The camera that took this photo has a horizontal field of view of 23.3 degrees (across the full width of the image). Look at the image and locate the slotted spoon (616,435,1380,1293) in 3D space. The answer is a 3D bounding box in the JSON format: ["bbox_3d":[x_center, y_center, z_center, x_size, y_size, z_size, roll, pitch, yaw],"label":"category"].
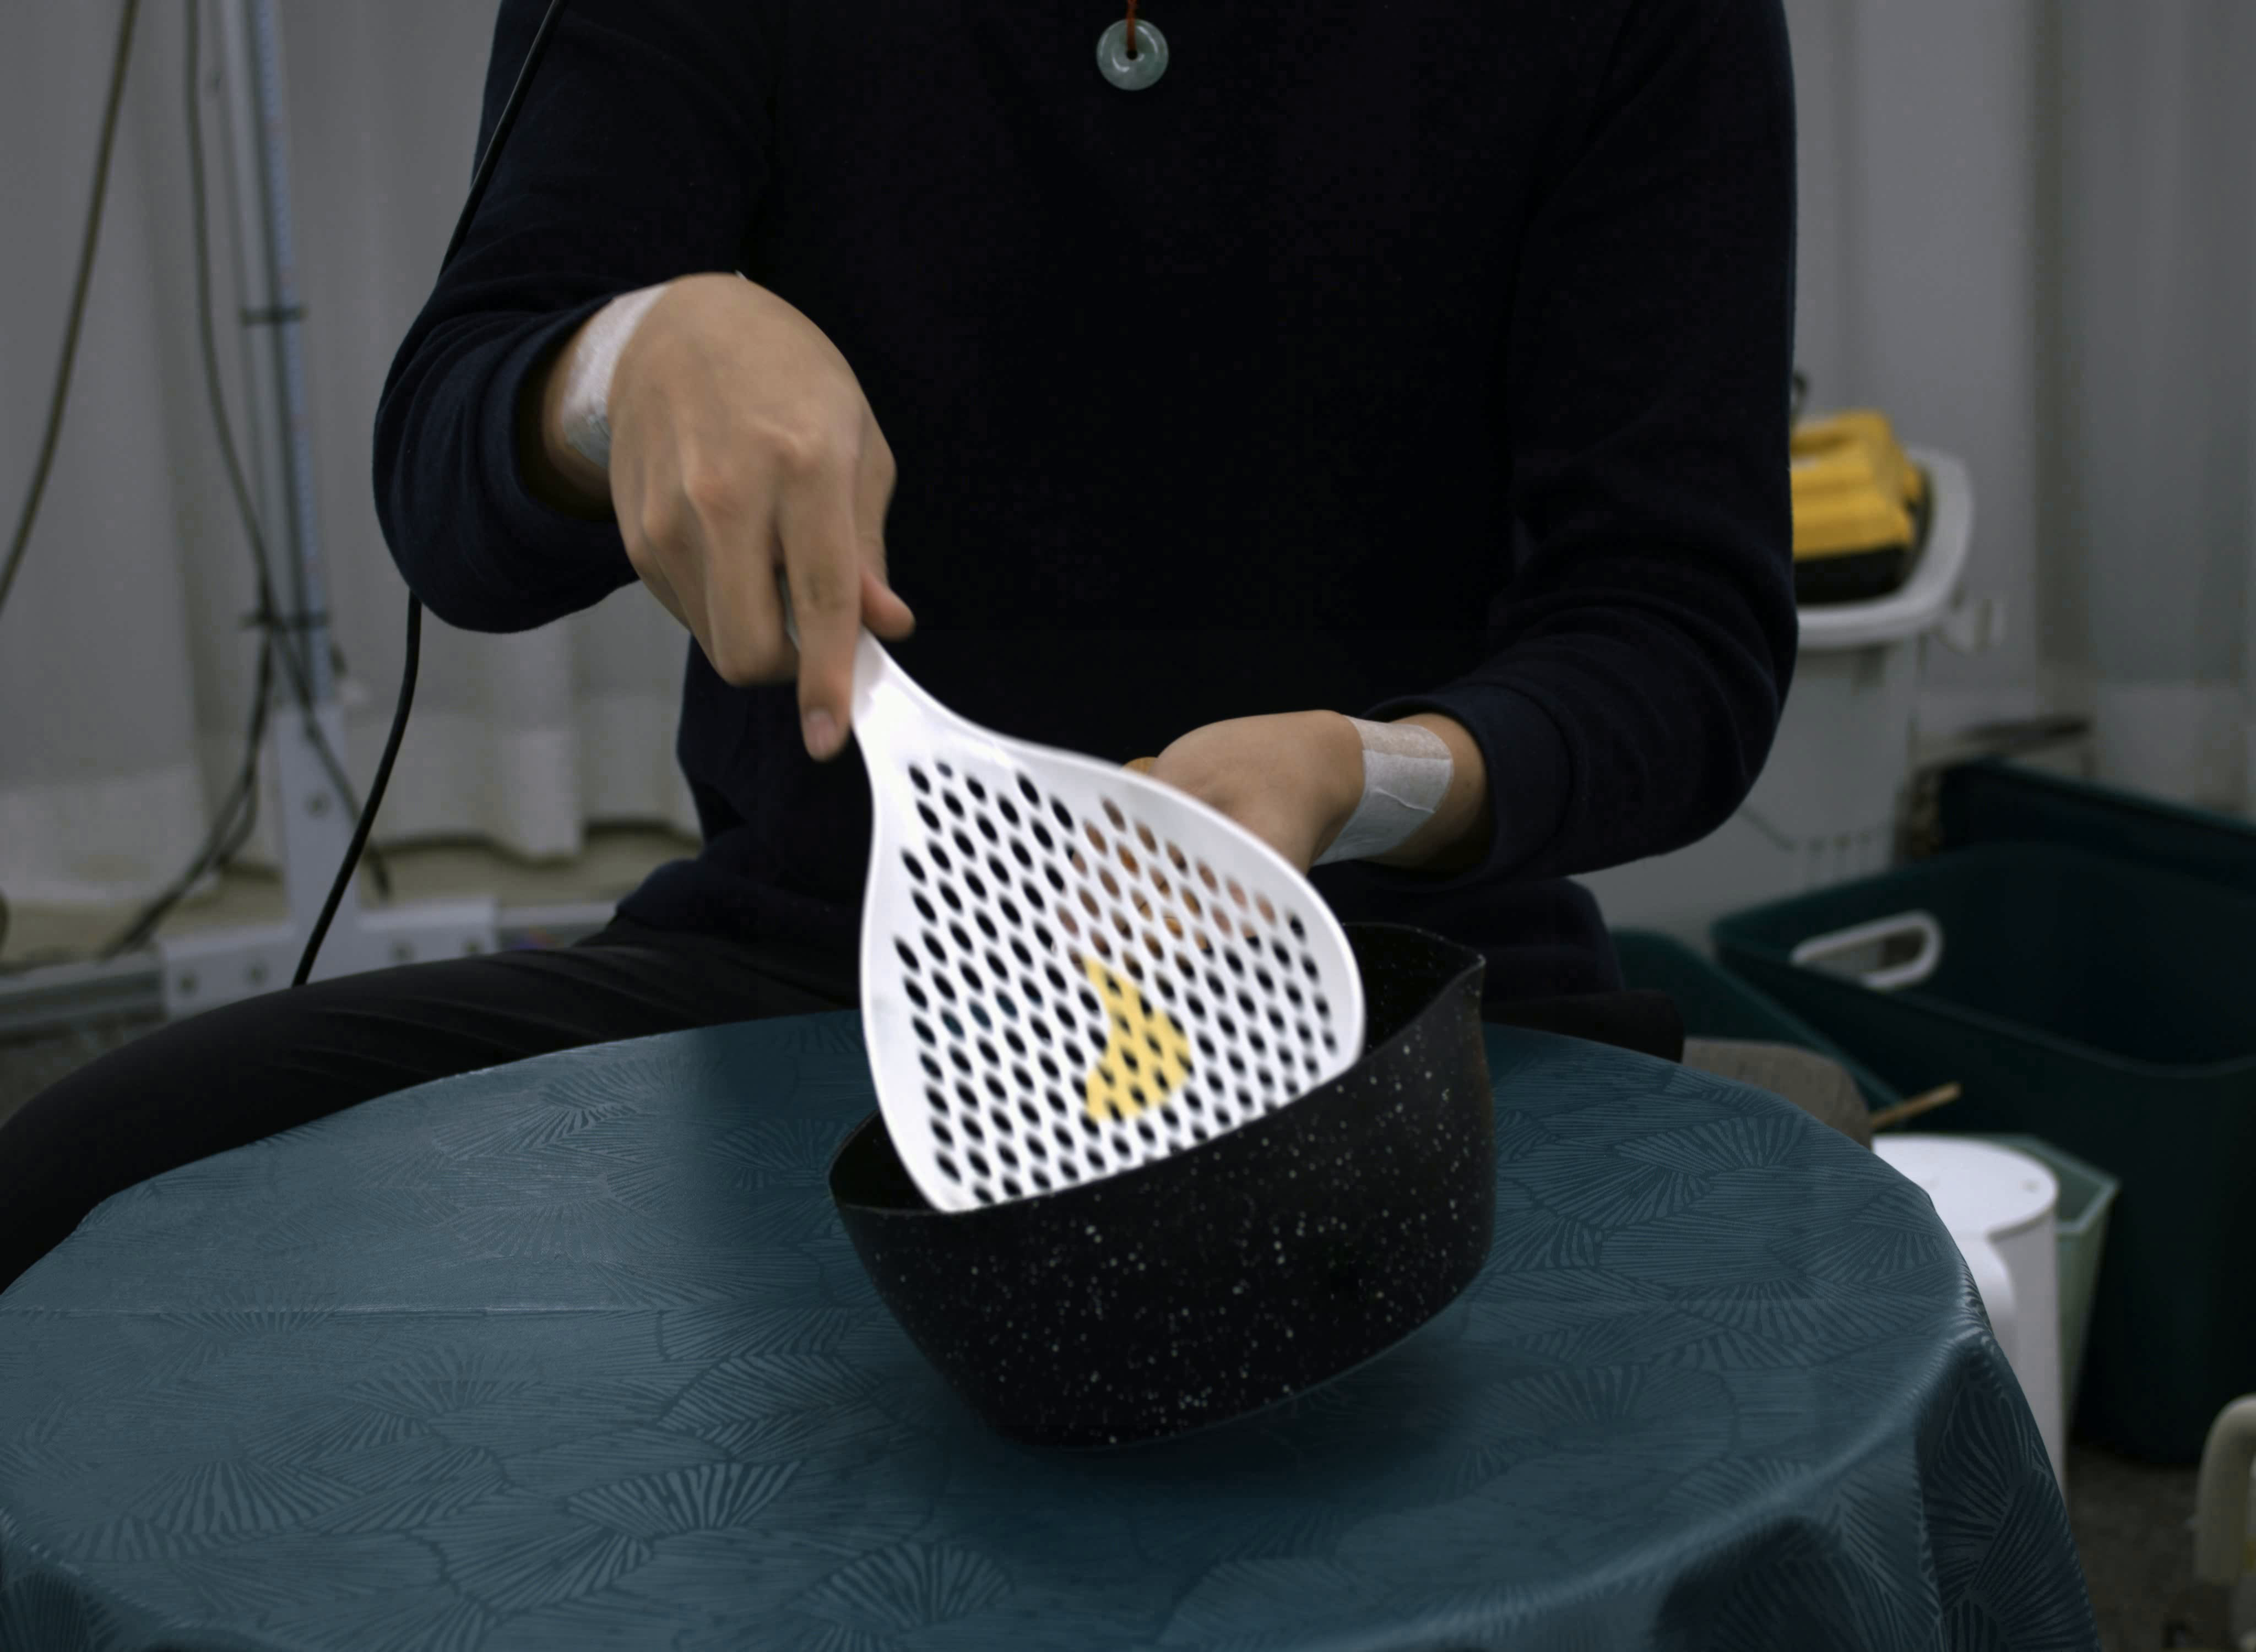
[{"bbox_3d":[-0.054,-0.008,1.542,0.137,0.050,0.352,-36,61,-3],"label":"slotted spoon"}]

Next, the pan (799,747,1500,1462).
[{"bbox_3d":[0.015,0.072,1.598,0.207,0.108,0.345,-20,15,6],"label":"pan"}]
